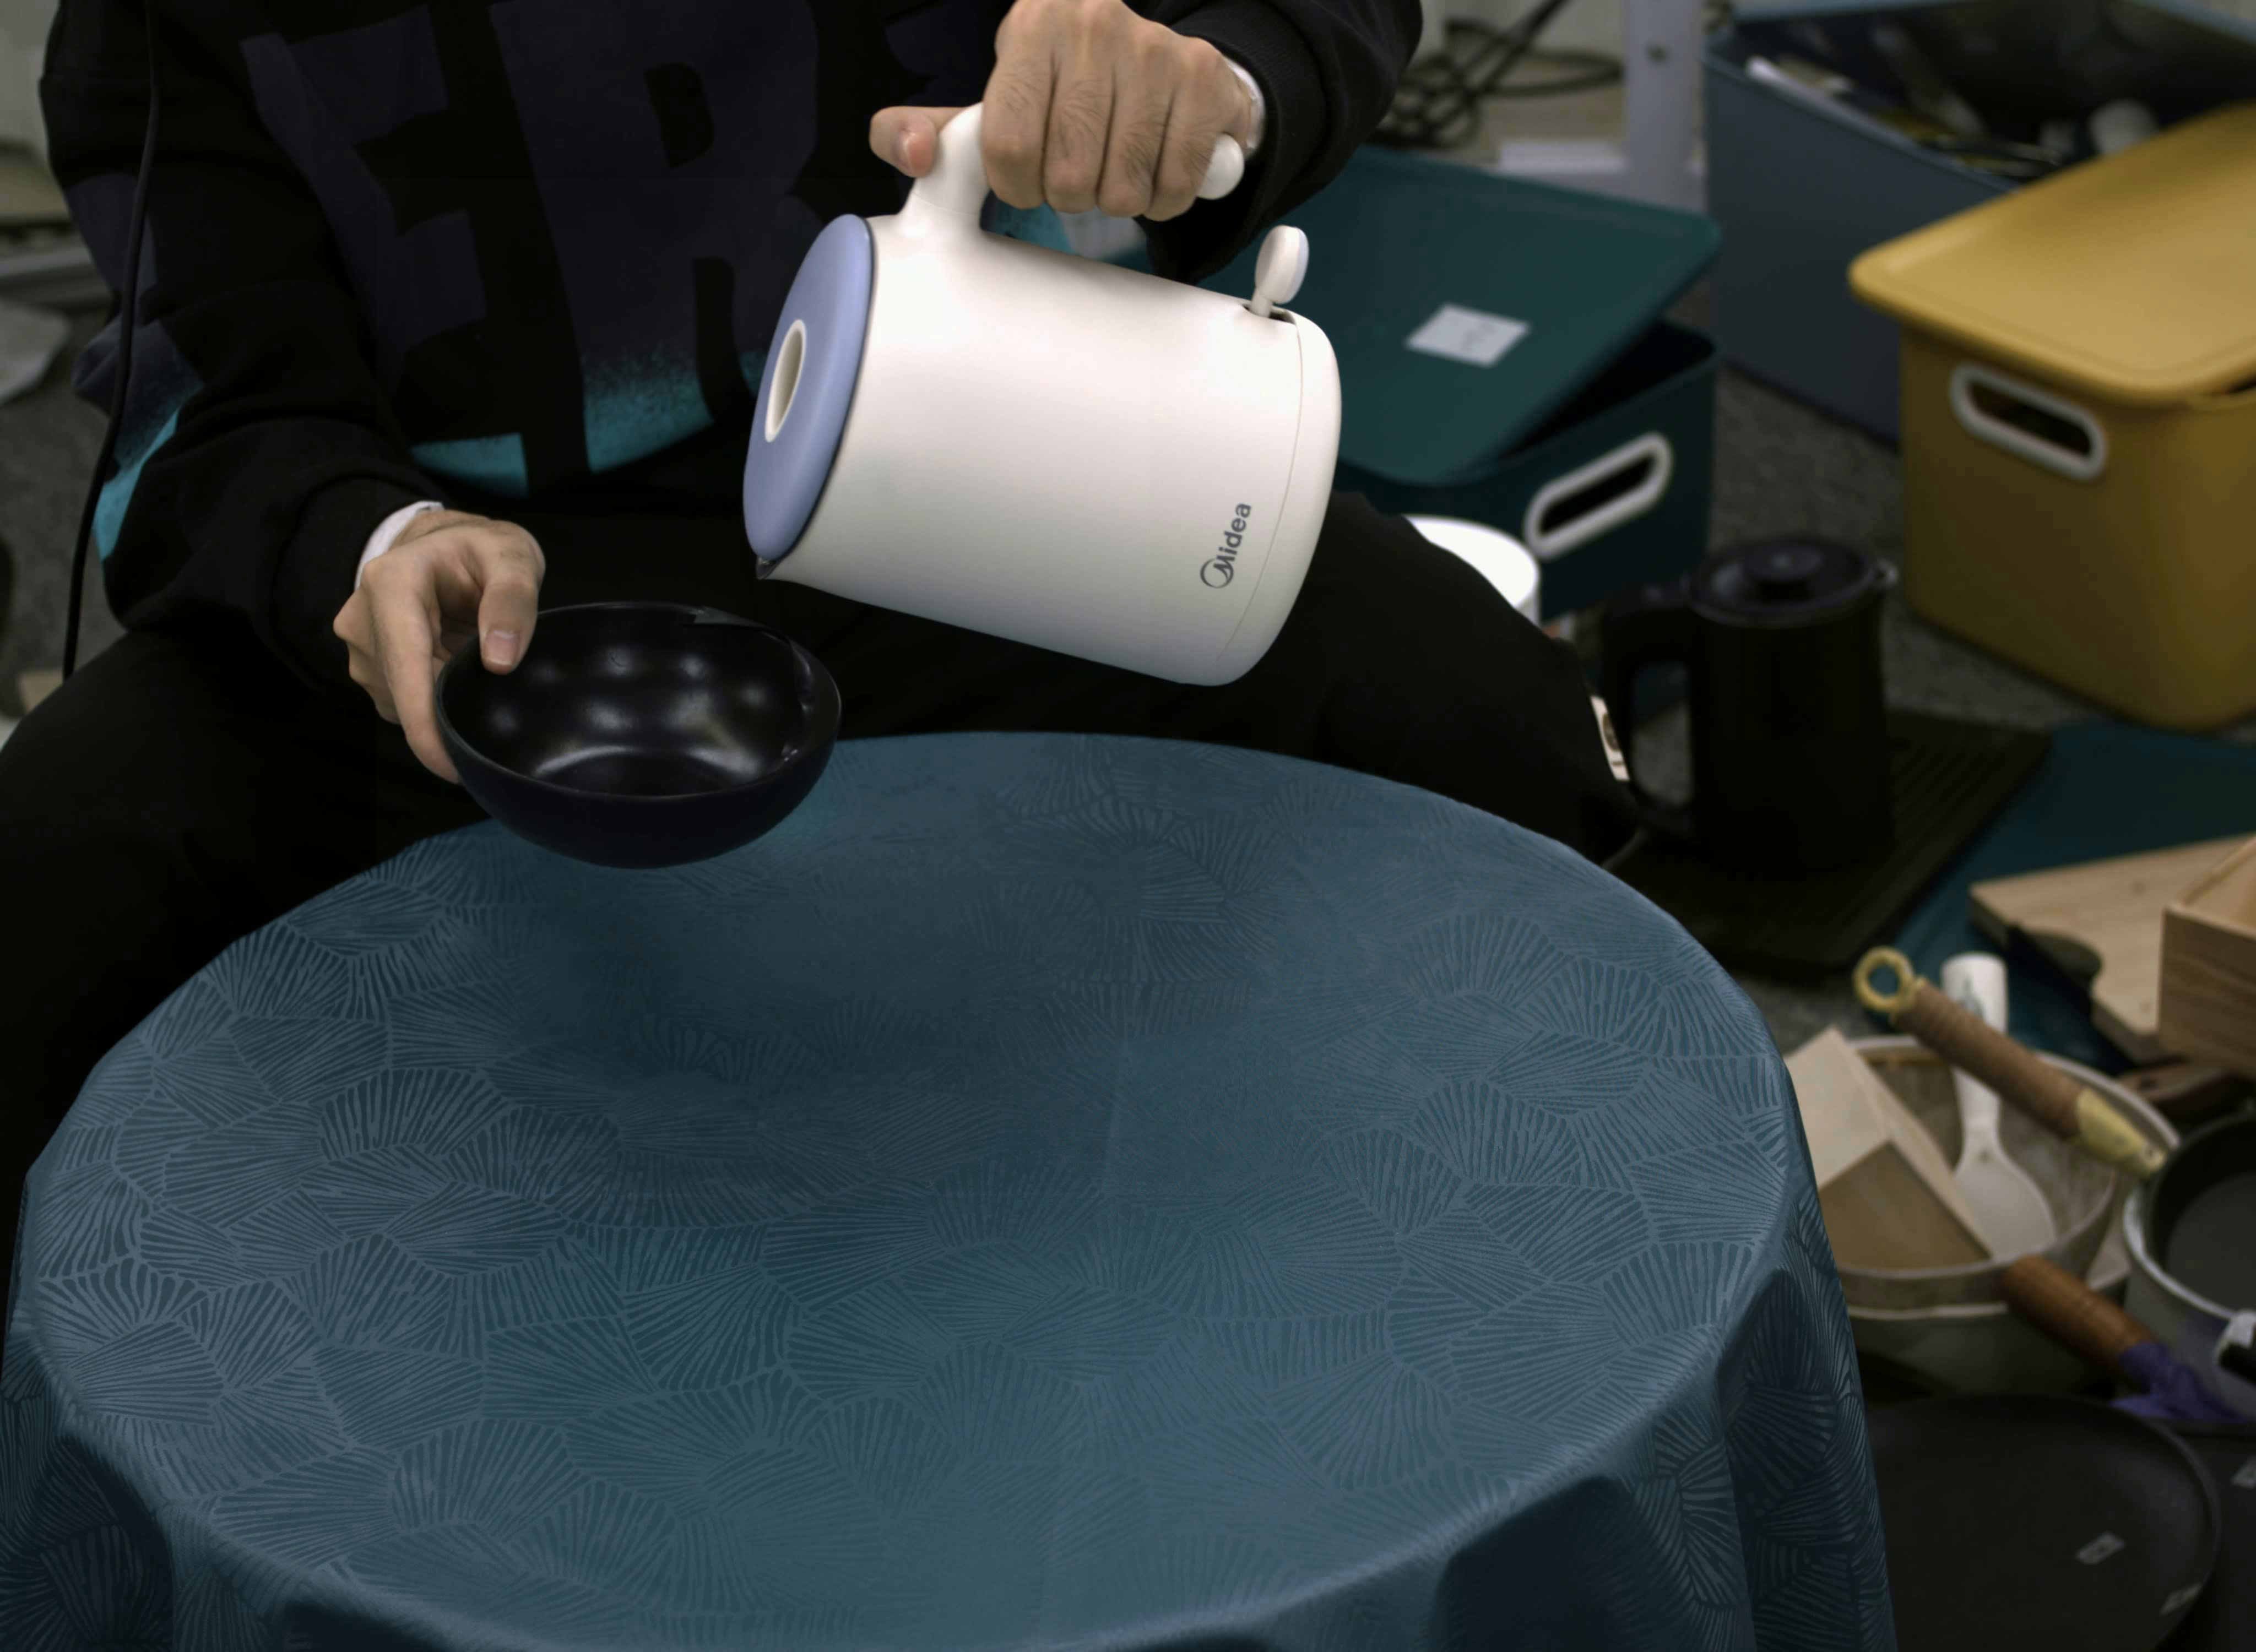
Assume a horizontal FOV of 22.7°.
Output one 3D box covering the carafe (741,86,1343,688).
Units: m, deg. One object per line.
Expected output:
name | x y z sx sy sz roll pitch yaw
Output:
carafe | -0.021 -0.150 1.884 0.182 0.190 0.133 16 14 -18

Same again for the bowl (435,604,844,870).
bowl | -0.166 -0.023 1.916 0.139 0.049 0.142 3 28 -1
